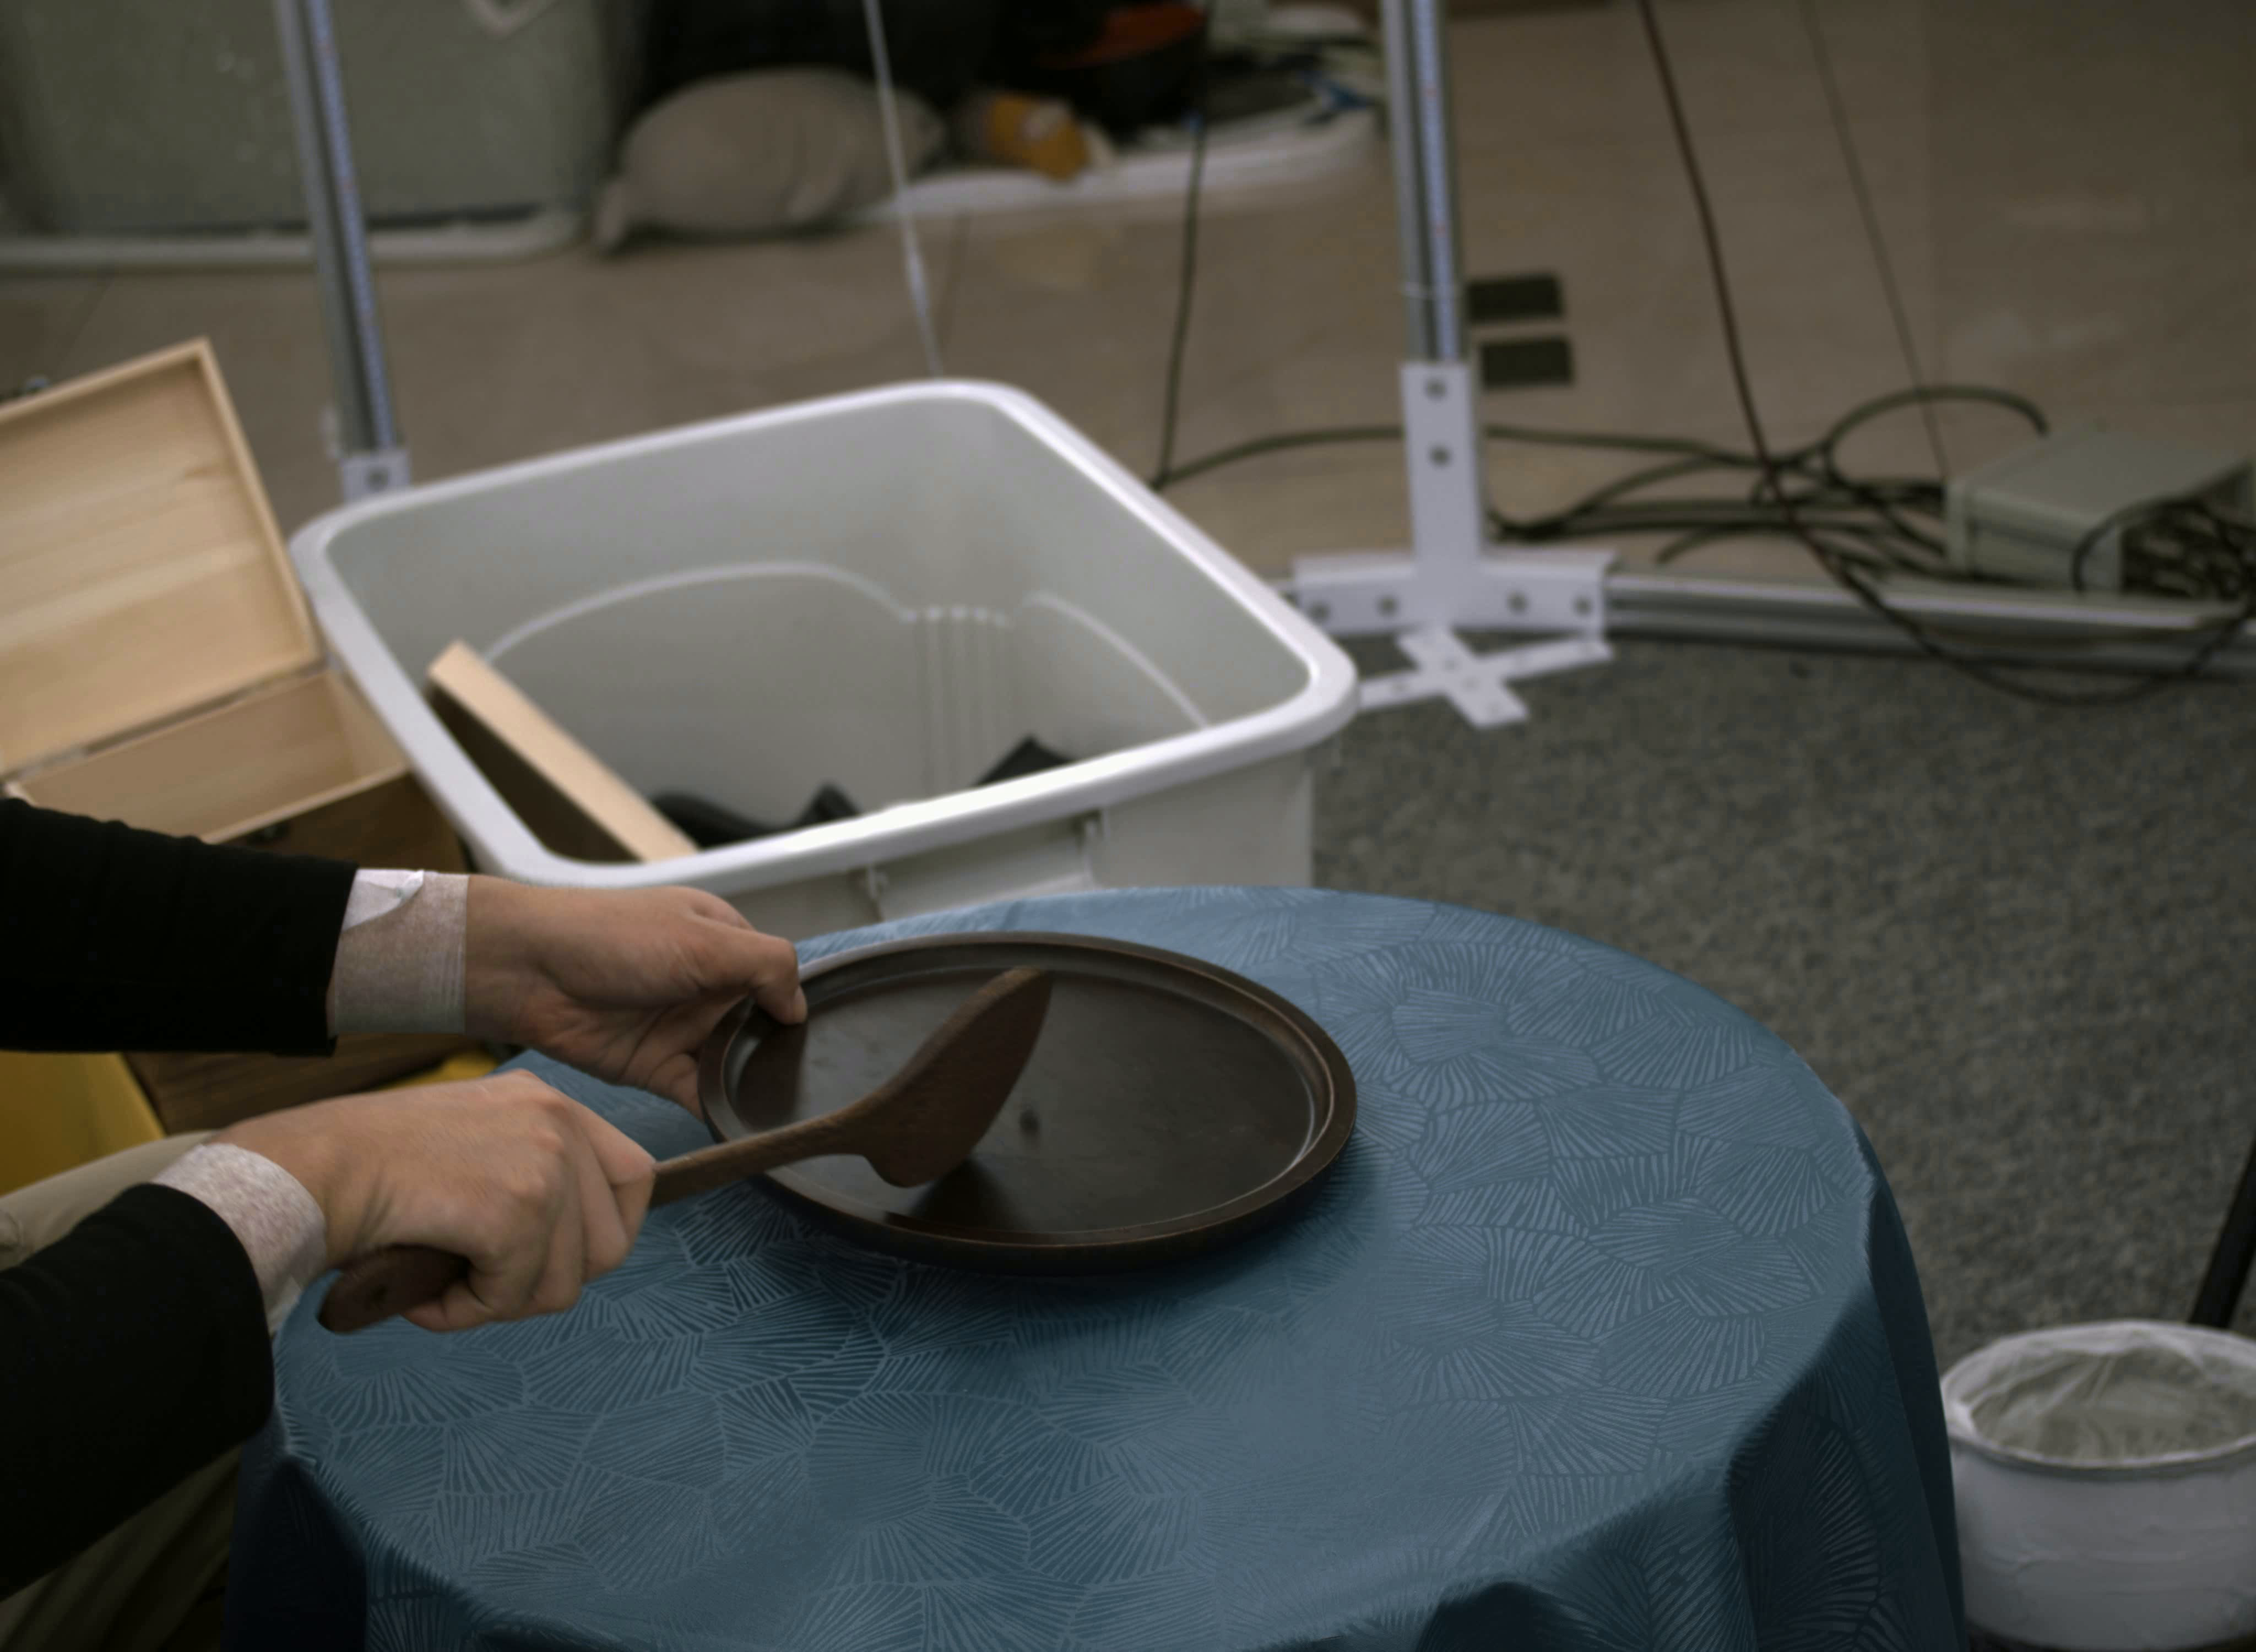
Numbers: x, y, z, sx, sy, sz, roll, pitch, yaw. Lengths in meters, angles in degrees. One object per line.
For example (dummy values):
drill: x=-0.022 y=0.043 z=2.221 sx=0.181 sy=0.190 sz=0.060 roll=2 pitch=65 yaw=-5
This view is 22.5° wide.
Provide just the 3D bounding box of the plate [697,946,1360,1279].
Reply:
plate: x=-0.039 y=0.107 z=2.161 sx=0.254 sy=0.029 sz=0.251 roll=4 pitch=26 yaw=-2

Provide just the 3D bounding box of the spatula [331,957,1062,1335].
spatula: x=-0.143 y=0.119 z=1.958 sx=0.015 sy=0.097 sz=0.384 roll=38 pitch=30 yaw=25
